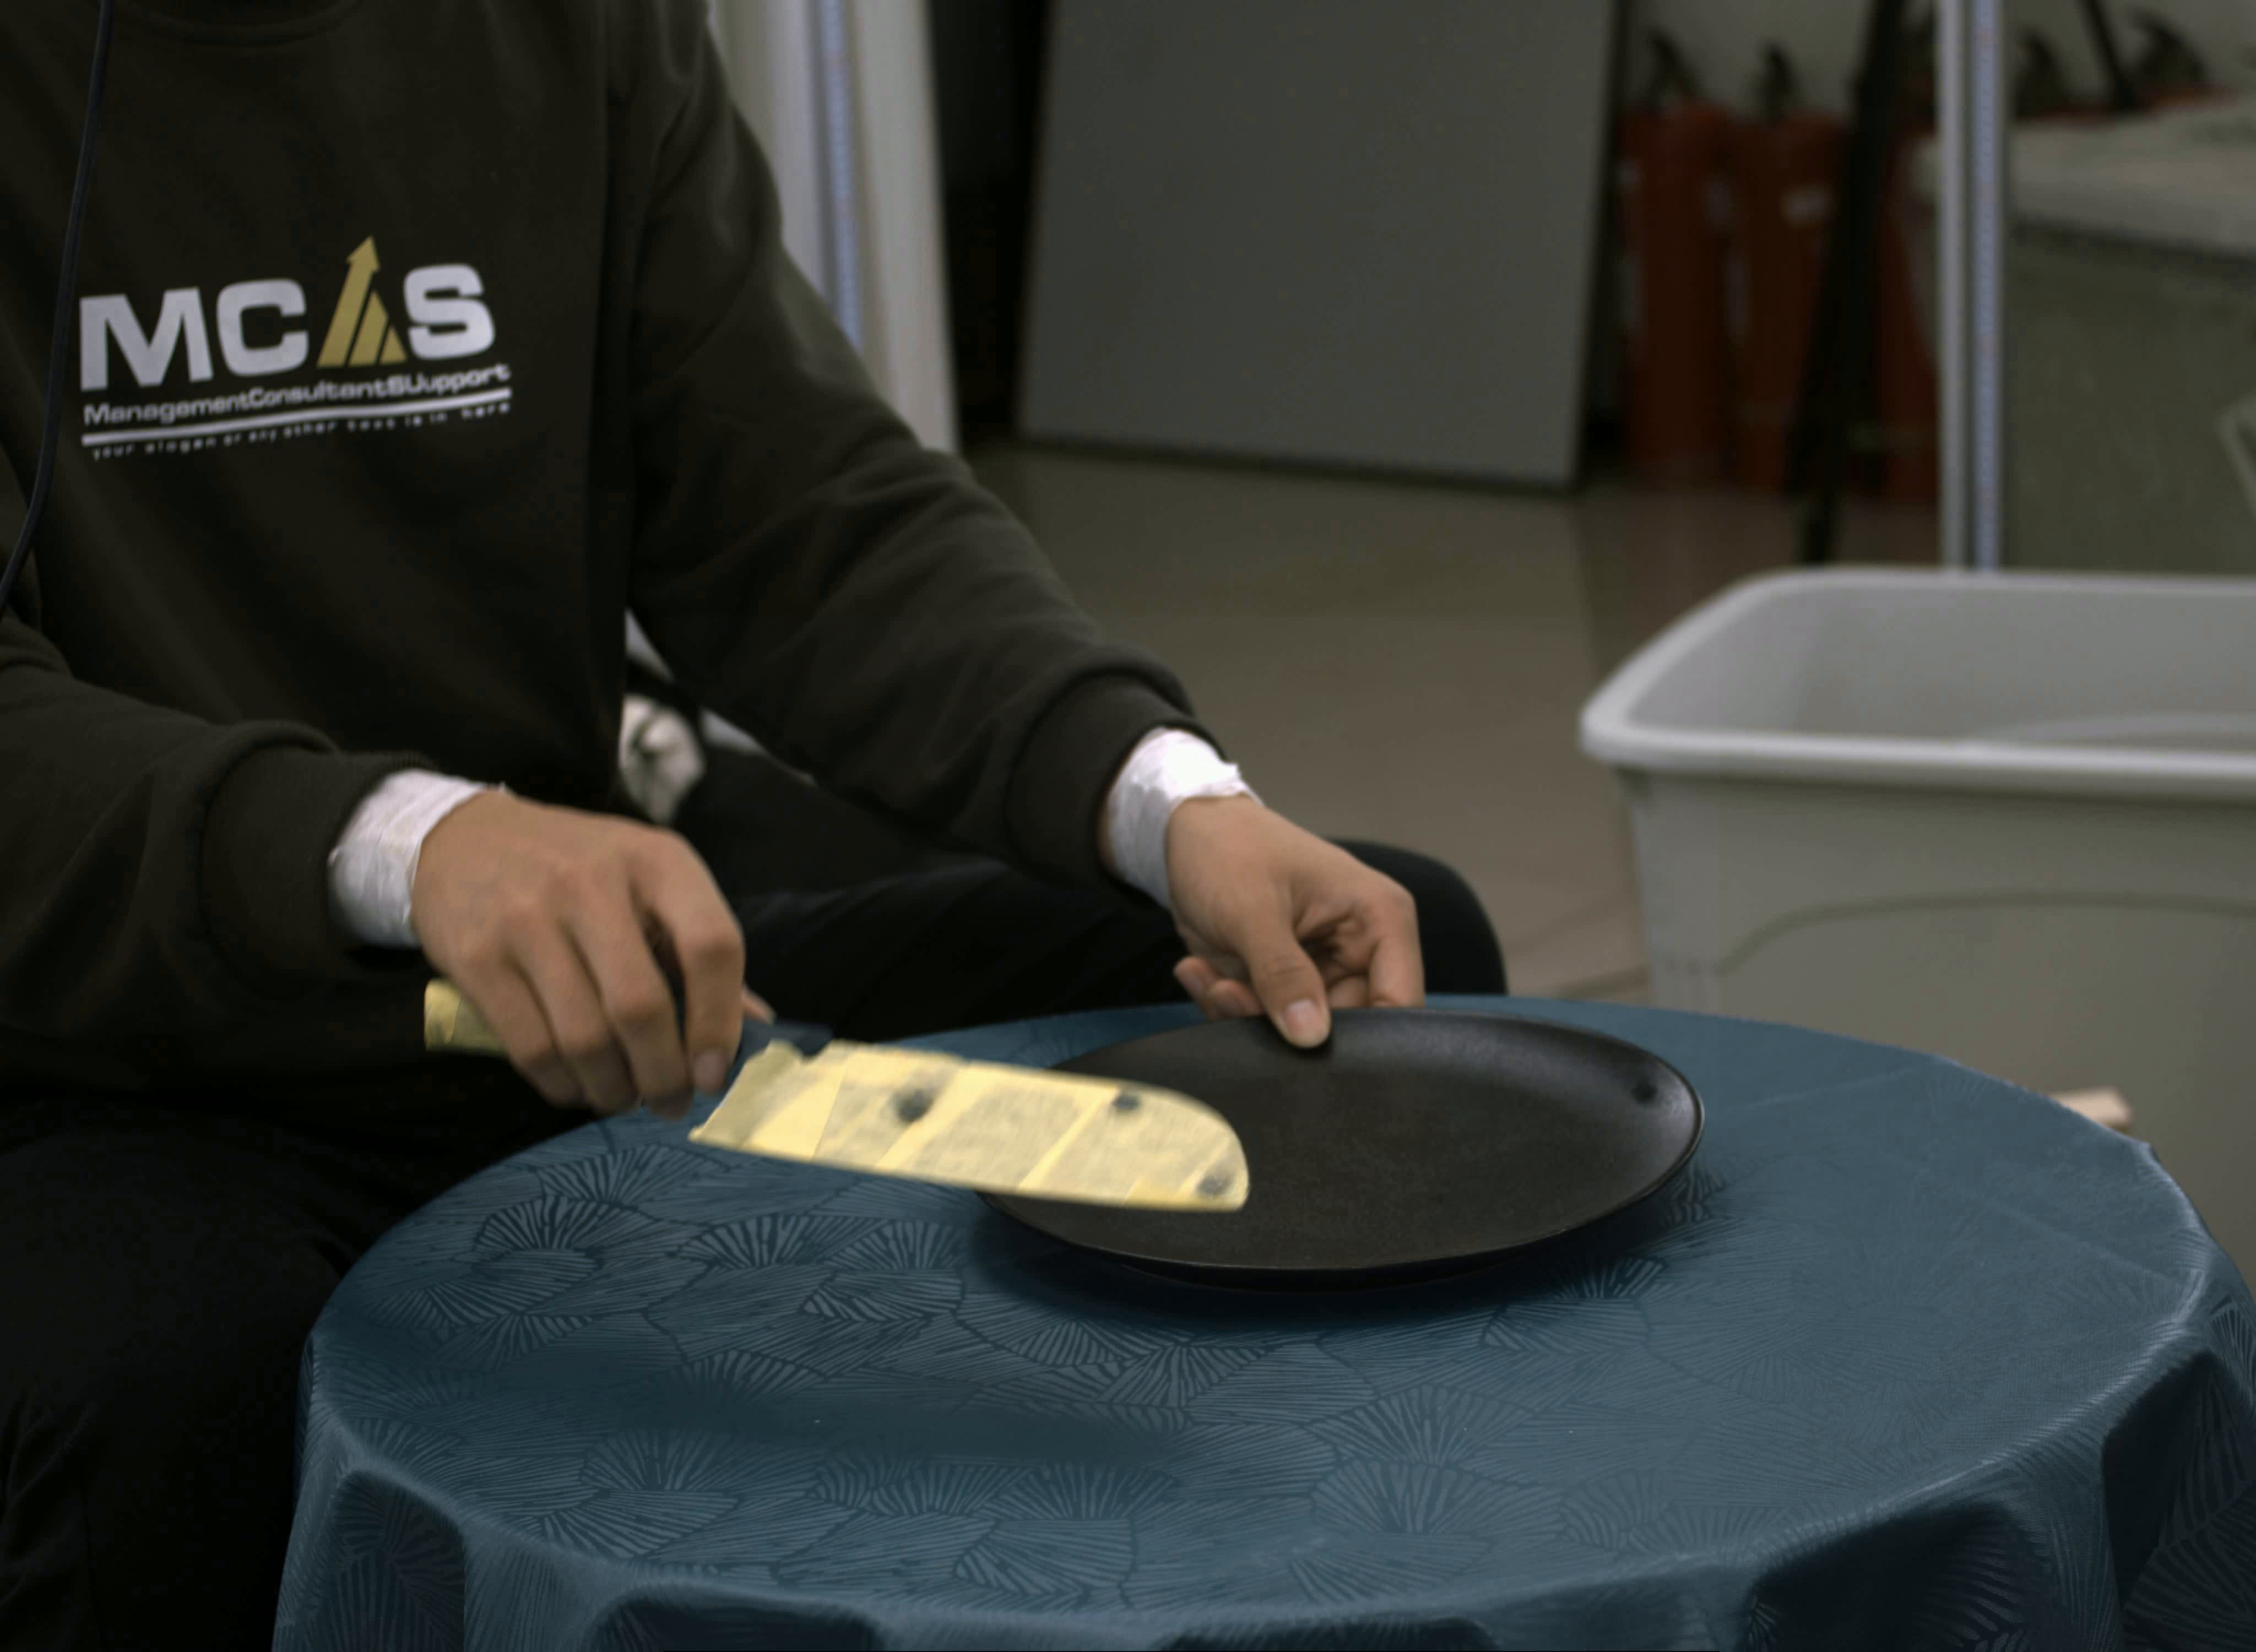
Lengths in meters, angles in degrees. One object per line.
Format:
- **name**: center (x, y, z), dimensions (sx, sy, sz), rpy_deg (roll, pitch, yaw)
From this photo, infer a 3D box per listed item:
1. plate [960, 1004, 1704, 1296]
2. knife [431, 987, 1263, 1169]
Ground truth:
- **plate**: center (0.066, 0.108, 1.740), dimensions (0.241, 0.023, 0.245), rpy_deg (-5, 17, 0)
- **knife**: center (-0.091, 0.077, 1.608), dimensions (0.290, 0.027, 0.080), rpy_deg (6, 23, 26)
